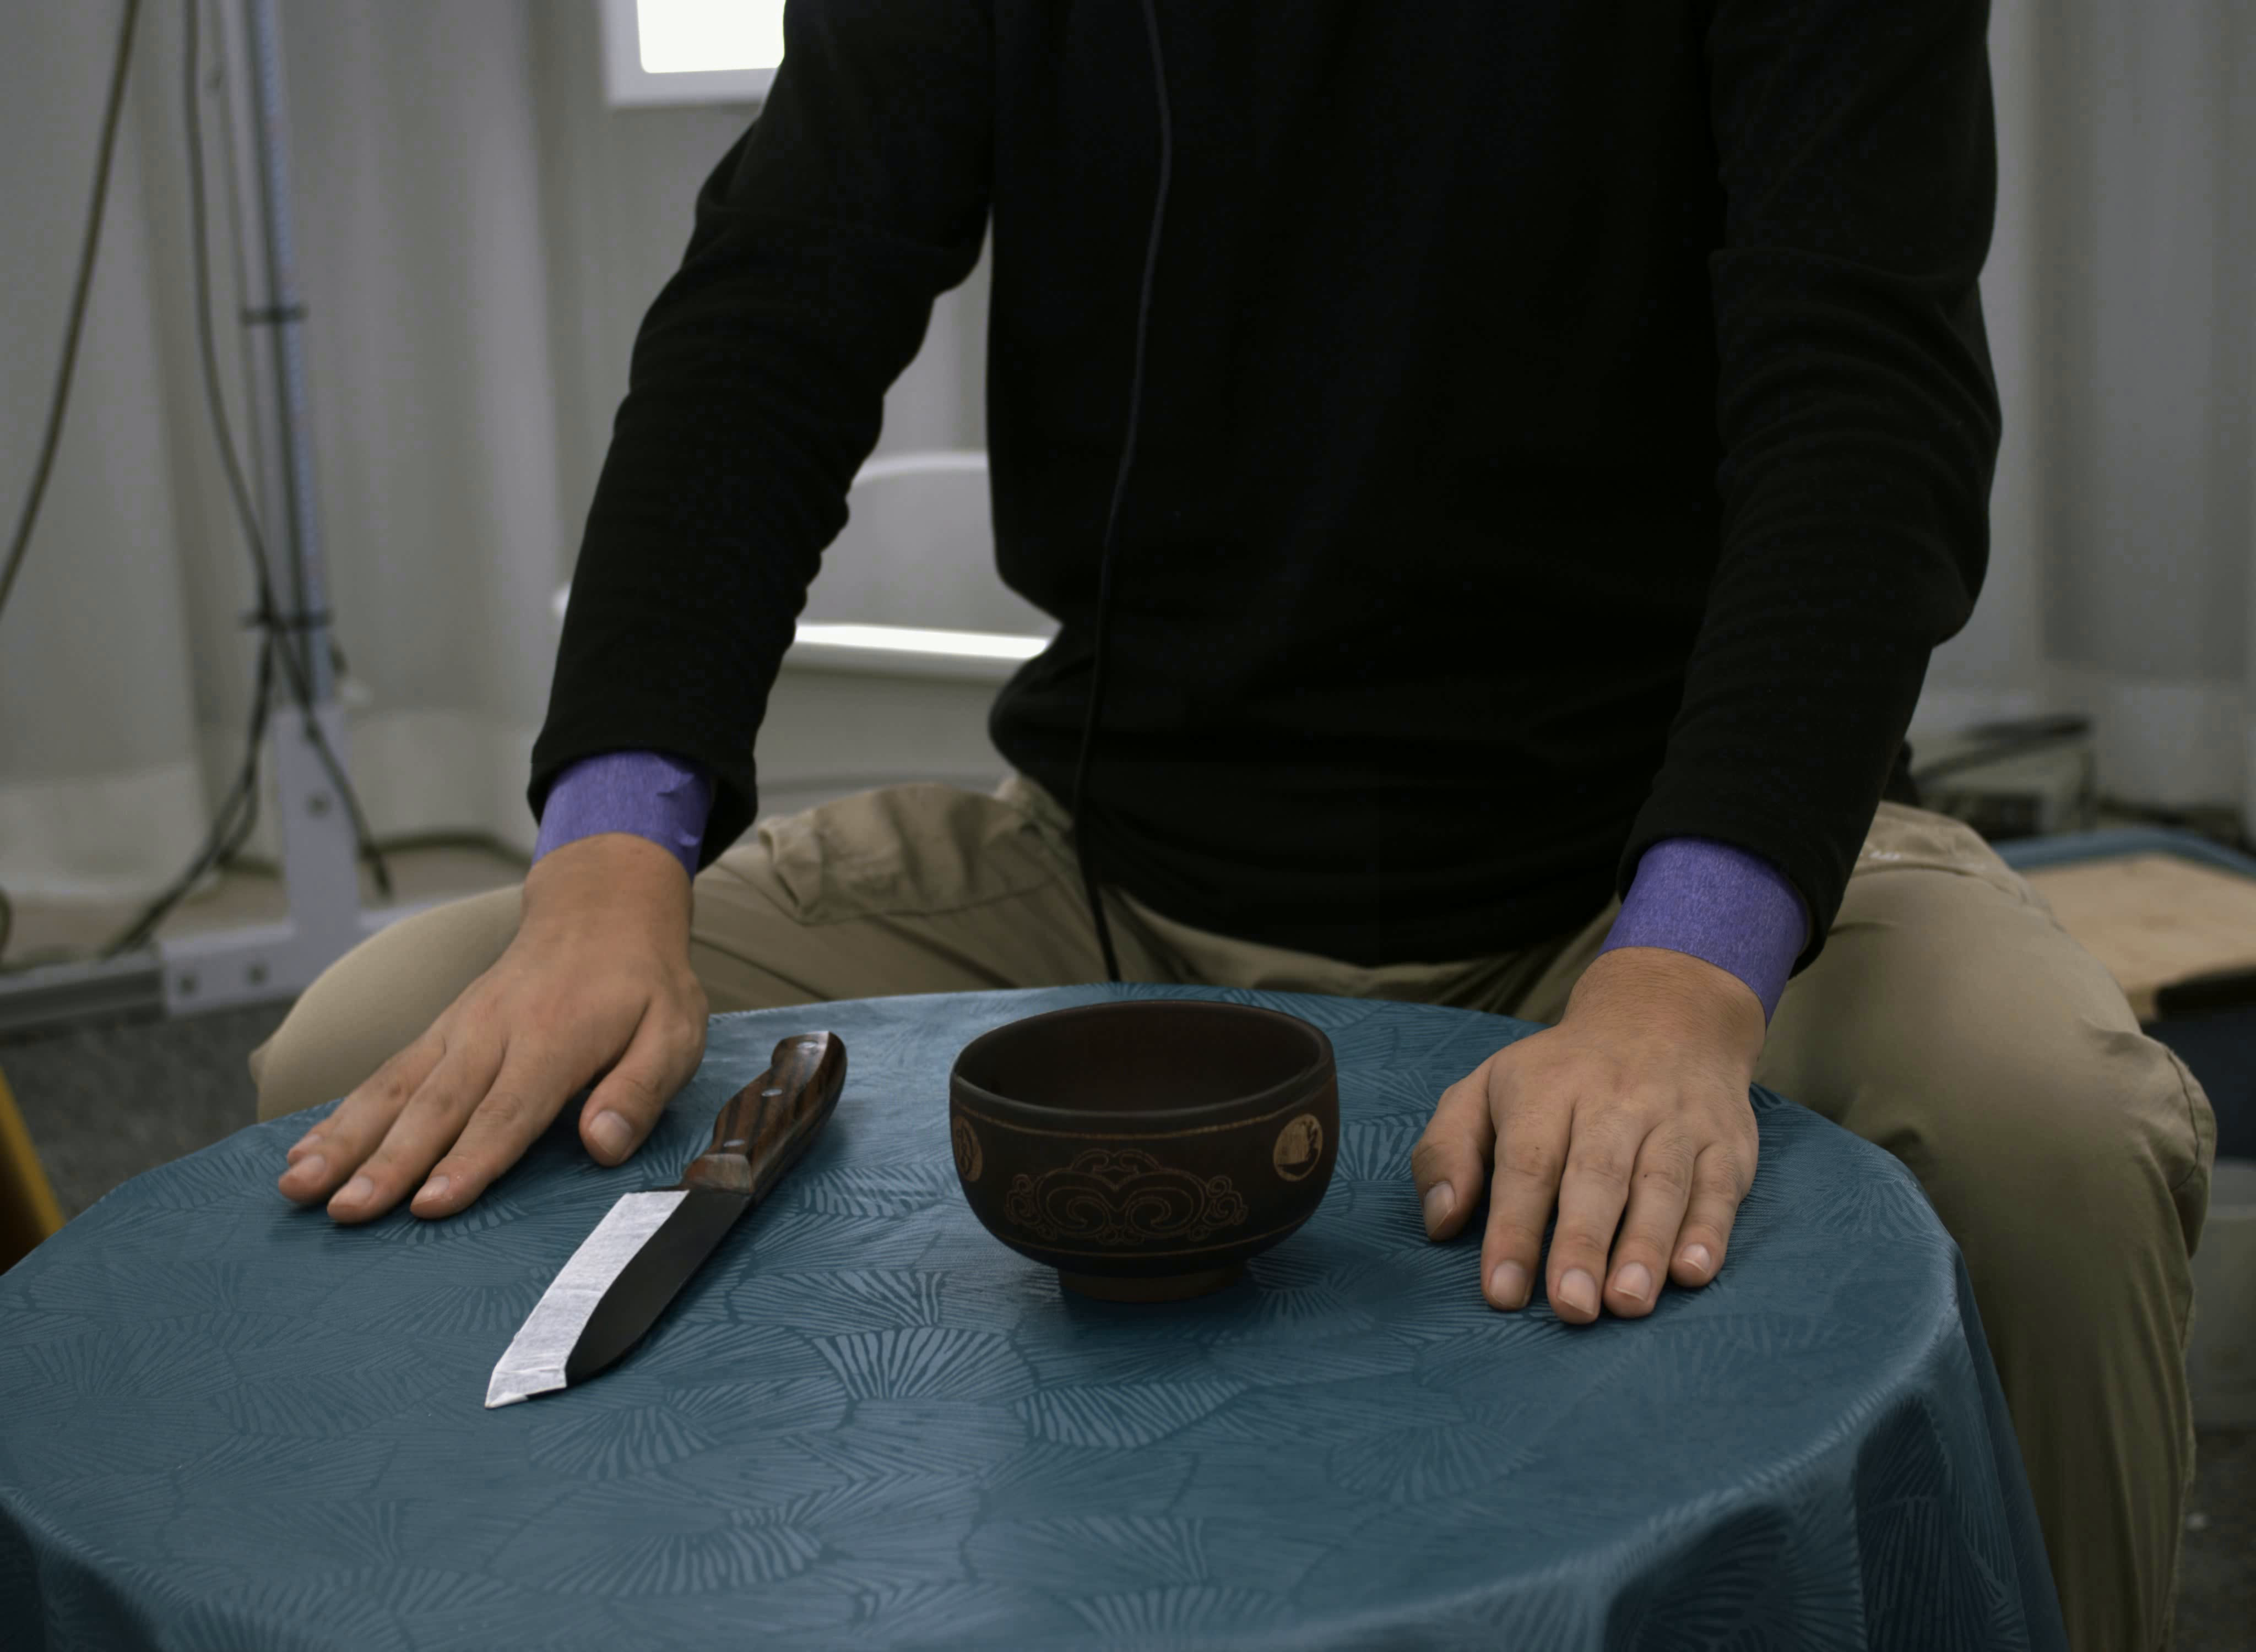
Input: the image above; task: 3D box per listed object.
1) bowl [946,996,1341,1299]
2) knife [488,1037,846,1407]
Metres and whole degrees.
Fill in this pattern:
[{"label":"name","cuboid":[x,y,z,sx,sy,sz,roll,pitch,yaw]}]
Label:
[{"label":"bowl","cuboid":[0.005,0.100,1.631,0.117,0.069,0.119,-2,14,0]},{"label":"knife","cuboid":[-0.139,0.122,1.686,0.050,0.020,0.290,-3,17,17]}]
